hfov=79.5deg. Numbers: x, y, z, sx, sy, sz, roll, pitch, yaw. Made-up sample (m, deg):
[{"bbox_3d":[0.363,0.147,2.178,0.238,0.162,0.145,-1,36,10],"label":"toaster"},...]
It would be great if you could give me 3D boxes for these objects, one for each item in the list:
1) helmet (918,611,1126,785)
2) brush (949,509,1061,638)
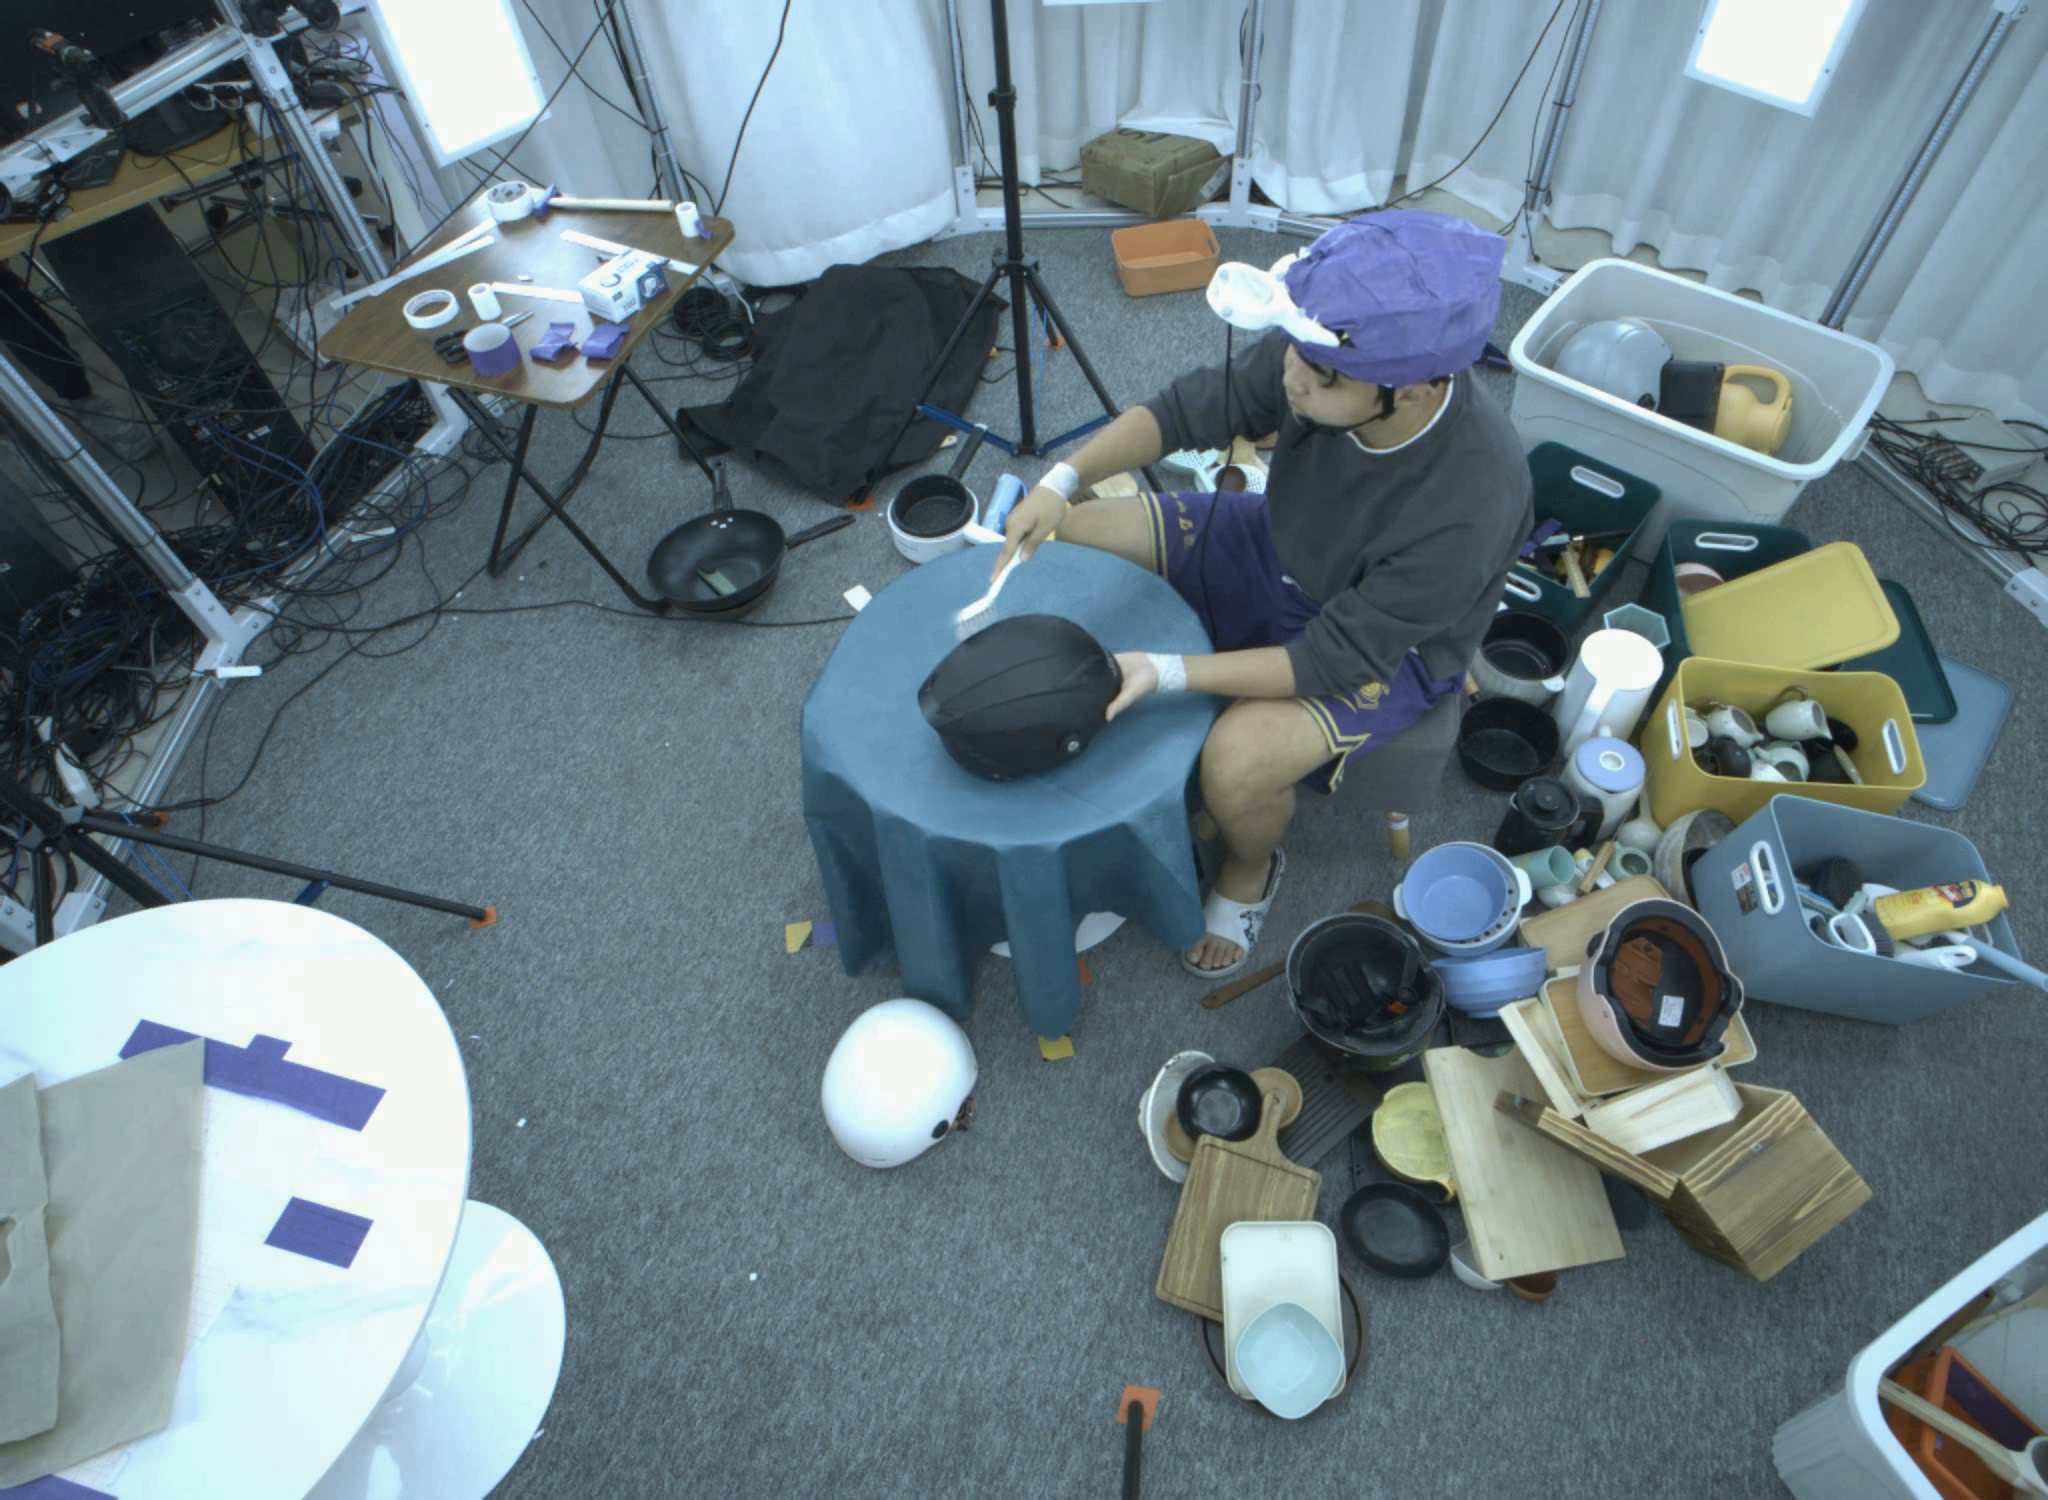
[{"bbox_3d":[-0.007,-0.091,1.739,0.276,0.175,0.242,-26,57,4],"label":"helmet"},{"bbox_3d":[-0.016,-0.250,1.753,0.051,0.034,0.244,47,73,-17],"label":"brush"}]
